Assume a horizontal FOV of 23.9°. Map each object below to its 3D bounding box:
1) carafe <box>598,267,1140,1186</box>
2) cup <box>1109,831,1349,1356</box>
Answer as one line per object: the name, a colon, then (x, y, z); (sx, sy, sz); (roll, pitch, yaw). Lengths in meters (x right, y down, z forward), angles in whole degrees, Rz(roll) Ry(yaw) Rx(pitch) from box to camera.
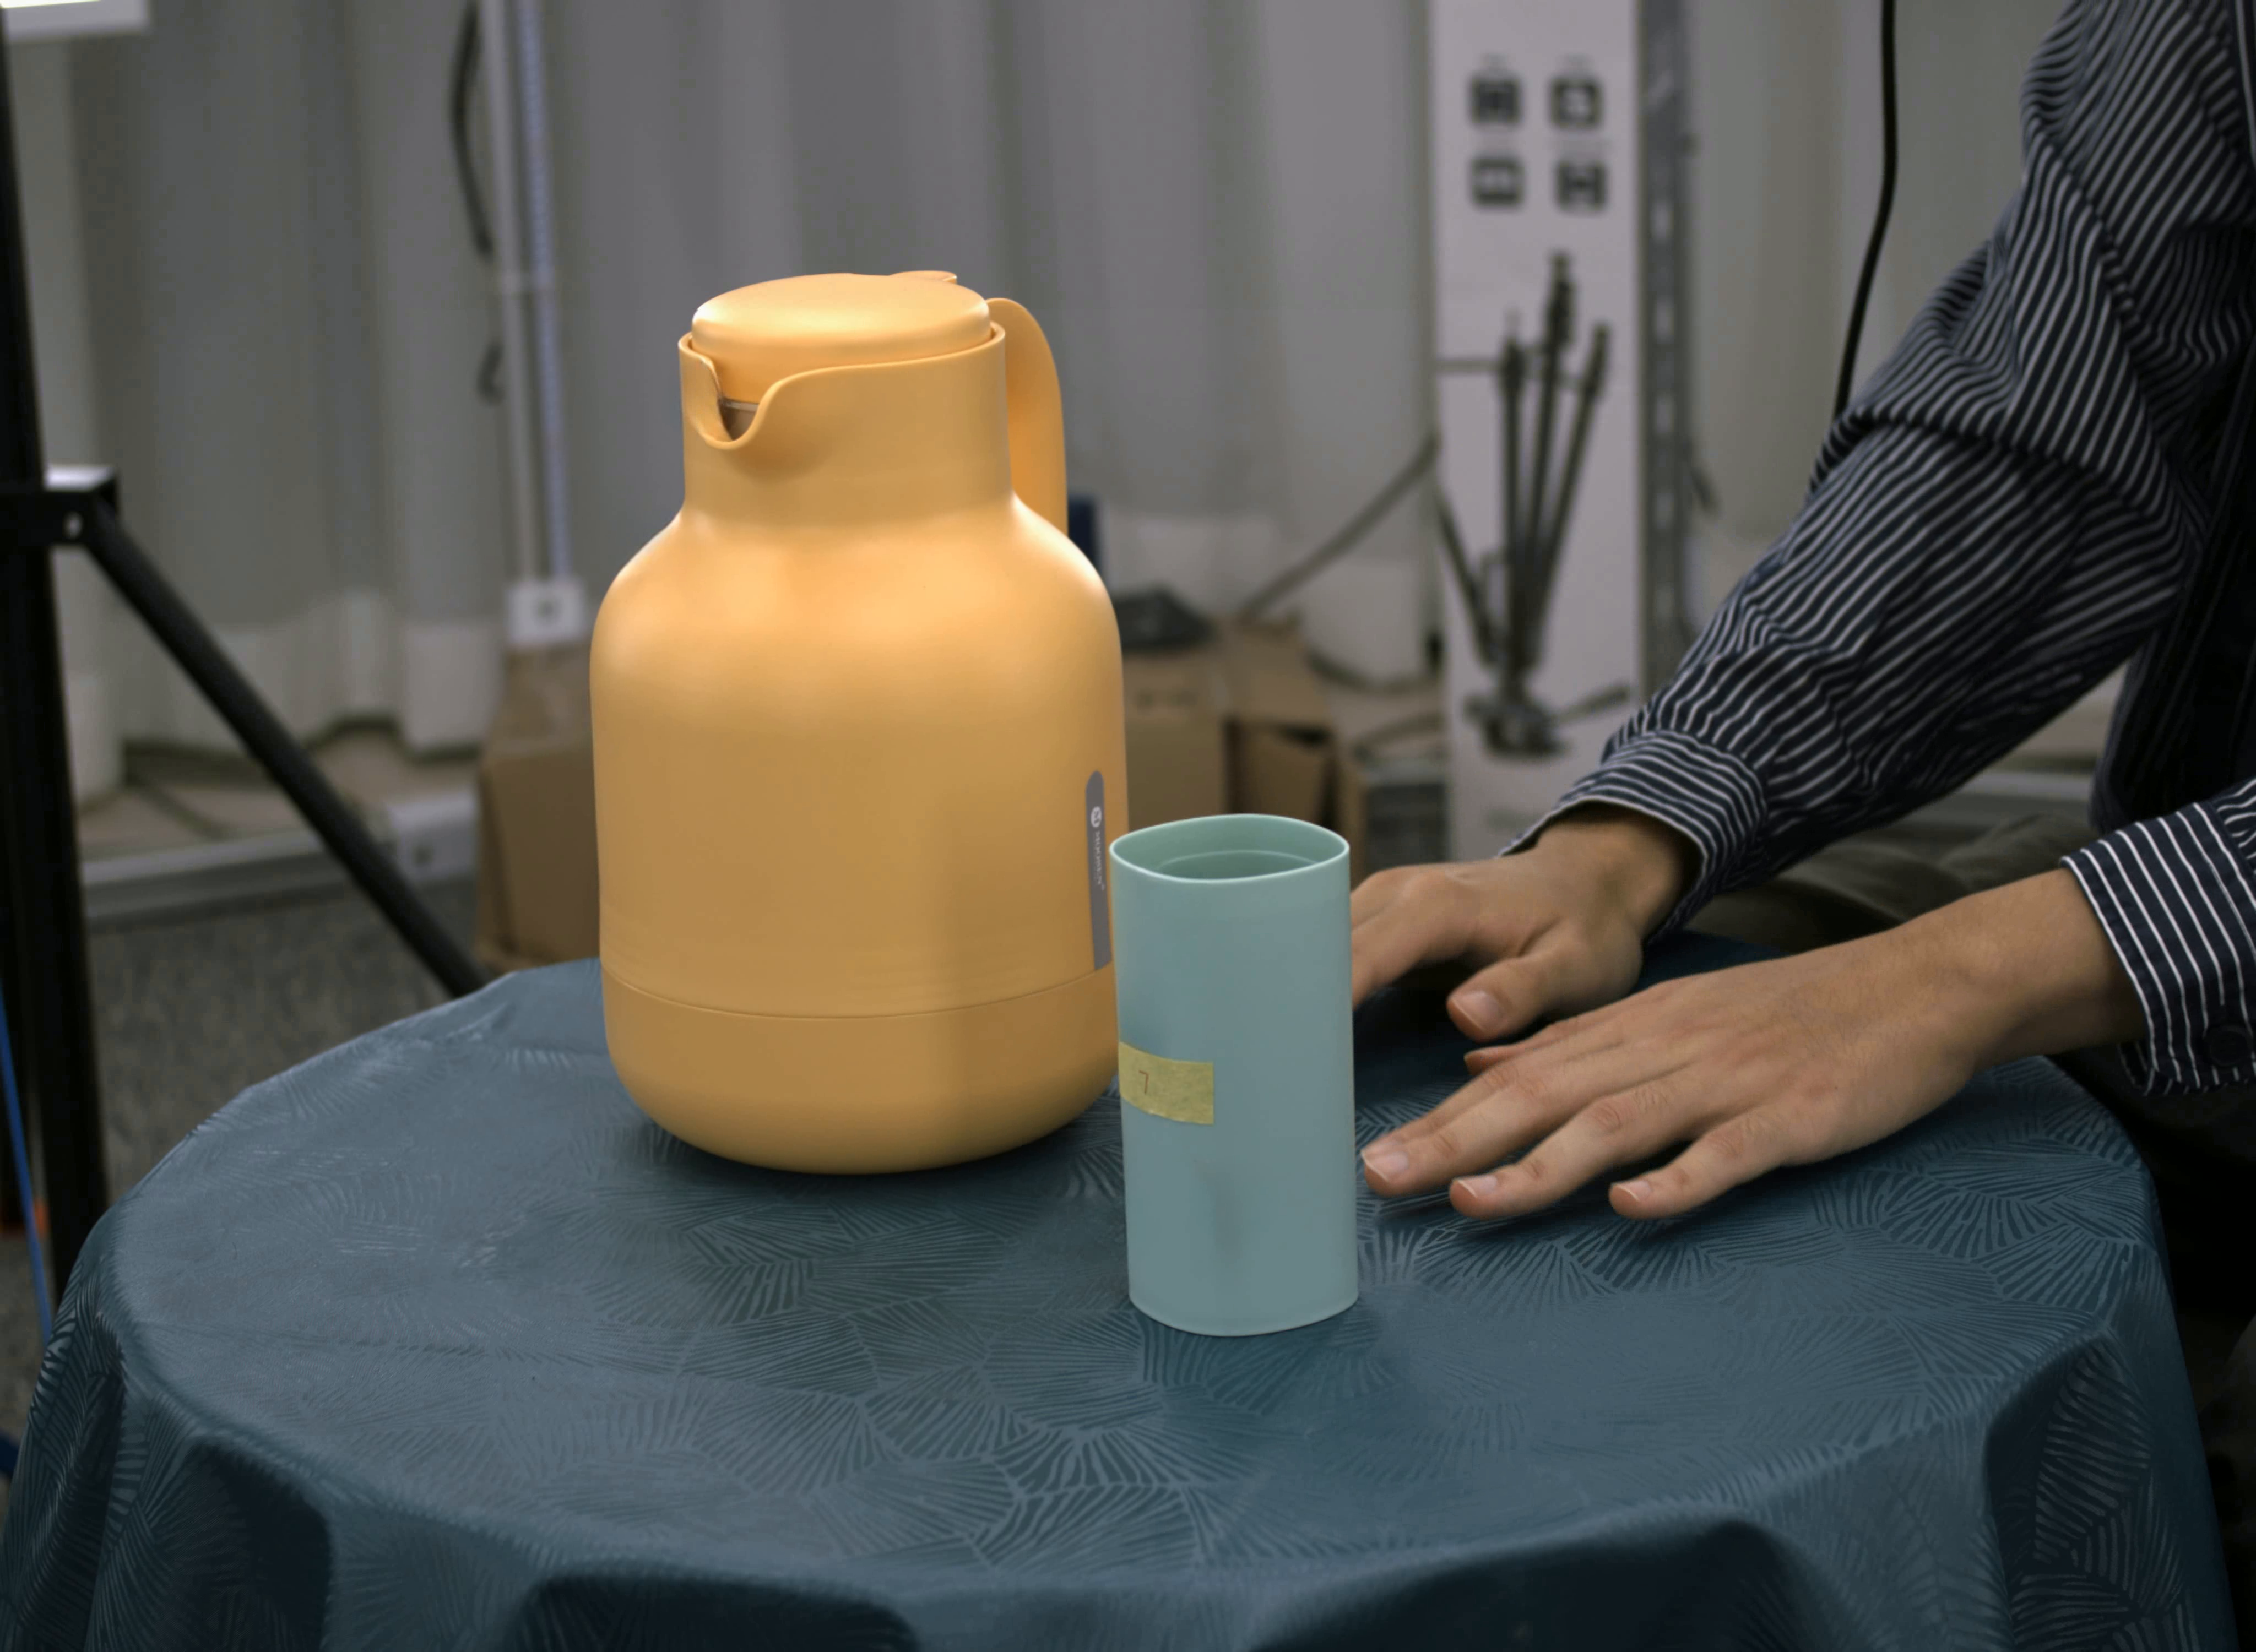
carafe: (-0.069, -0.038, 1.610); (0.166, 0.260, 0.199); (6, 17, 23)
cup: (0.030, 0.072, 1.460); (0.066, 0.132, 0.067); (-2, 14, -1)
